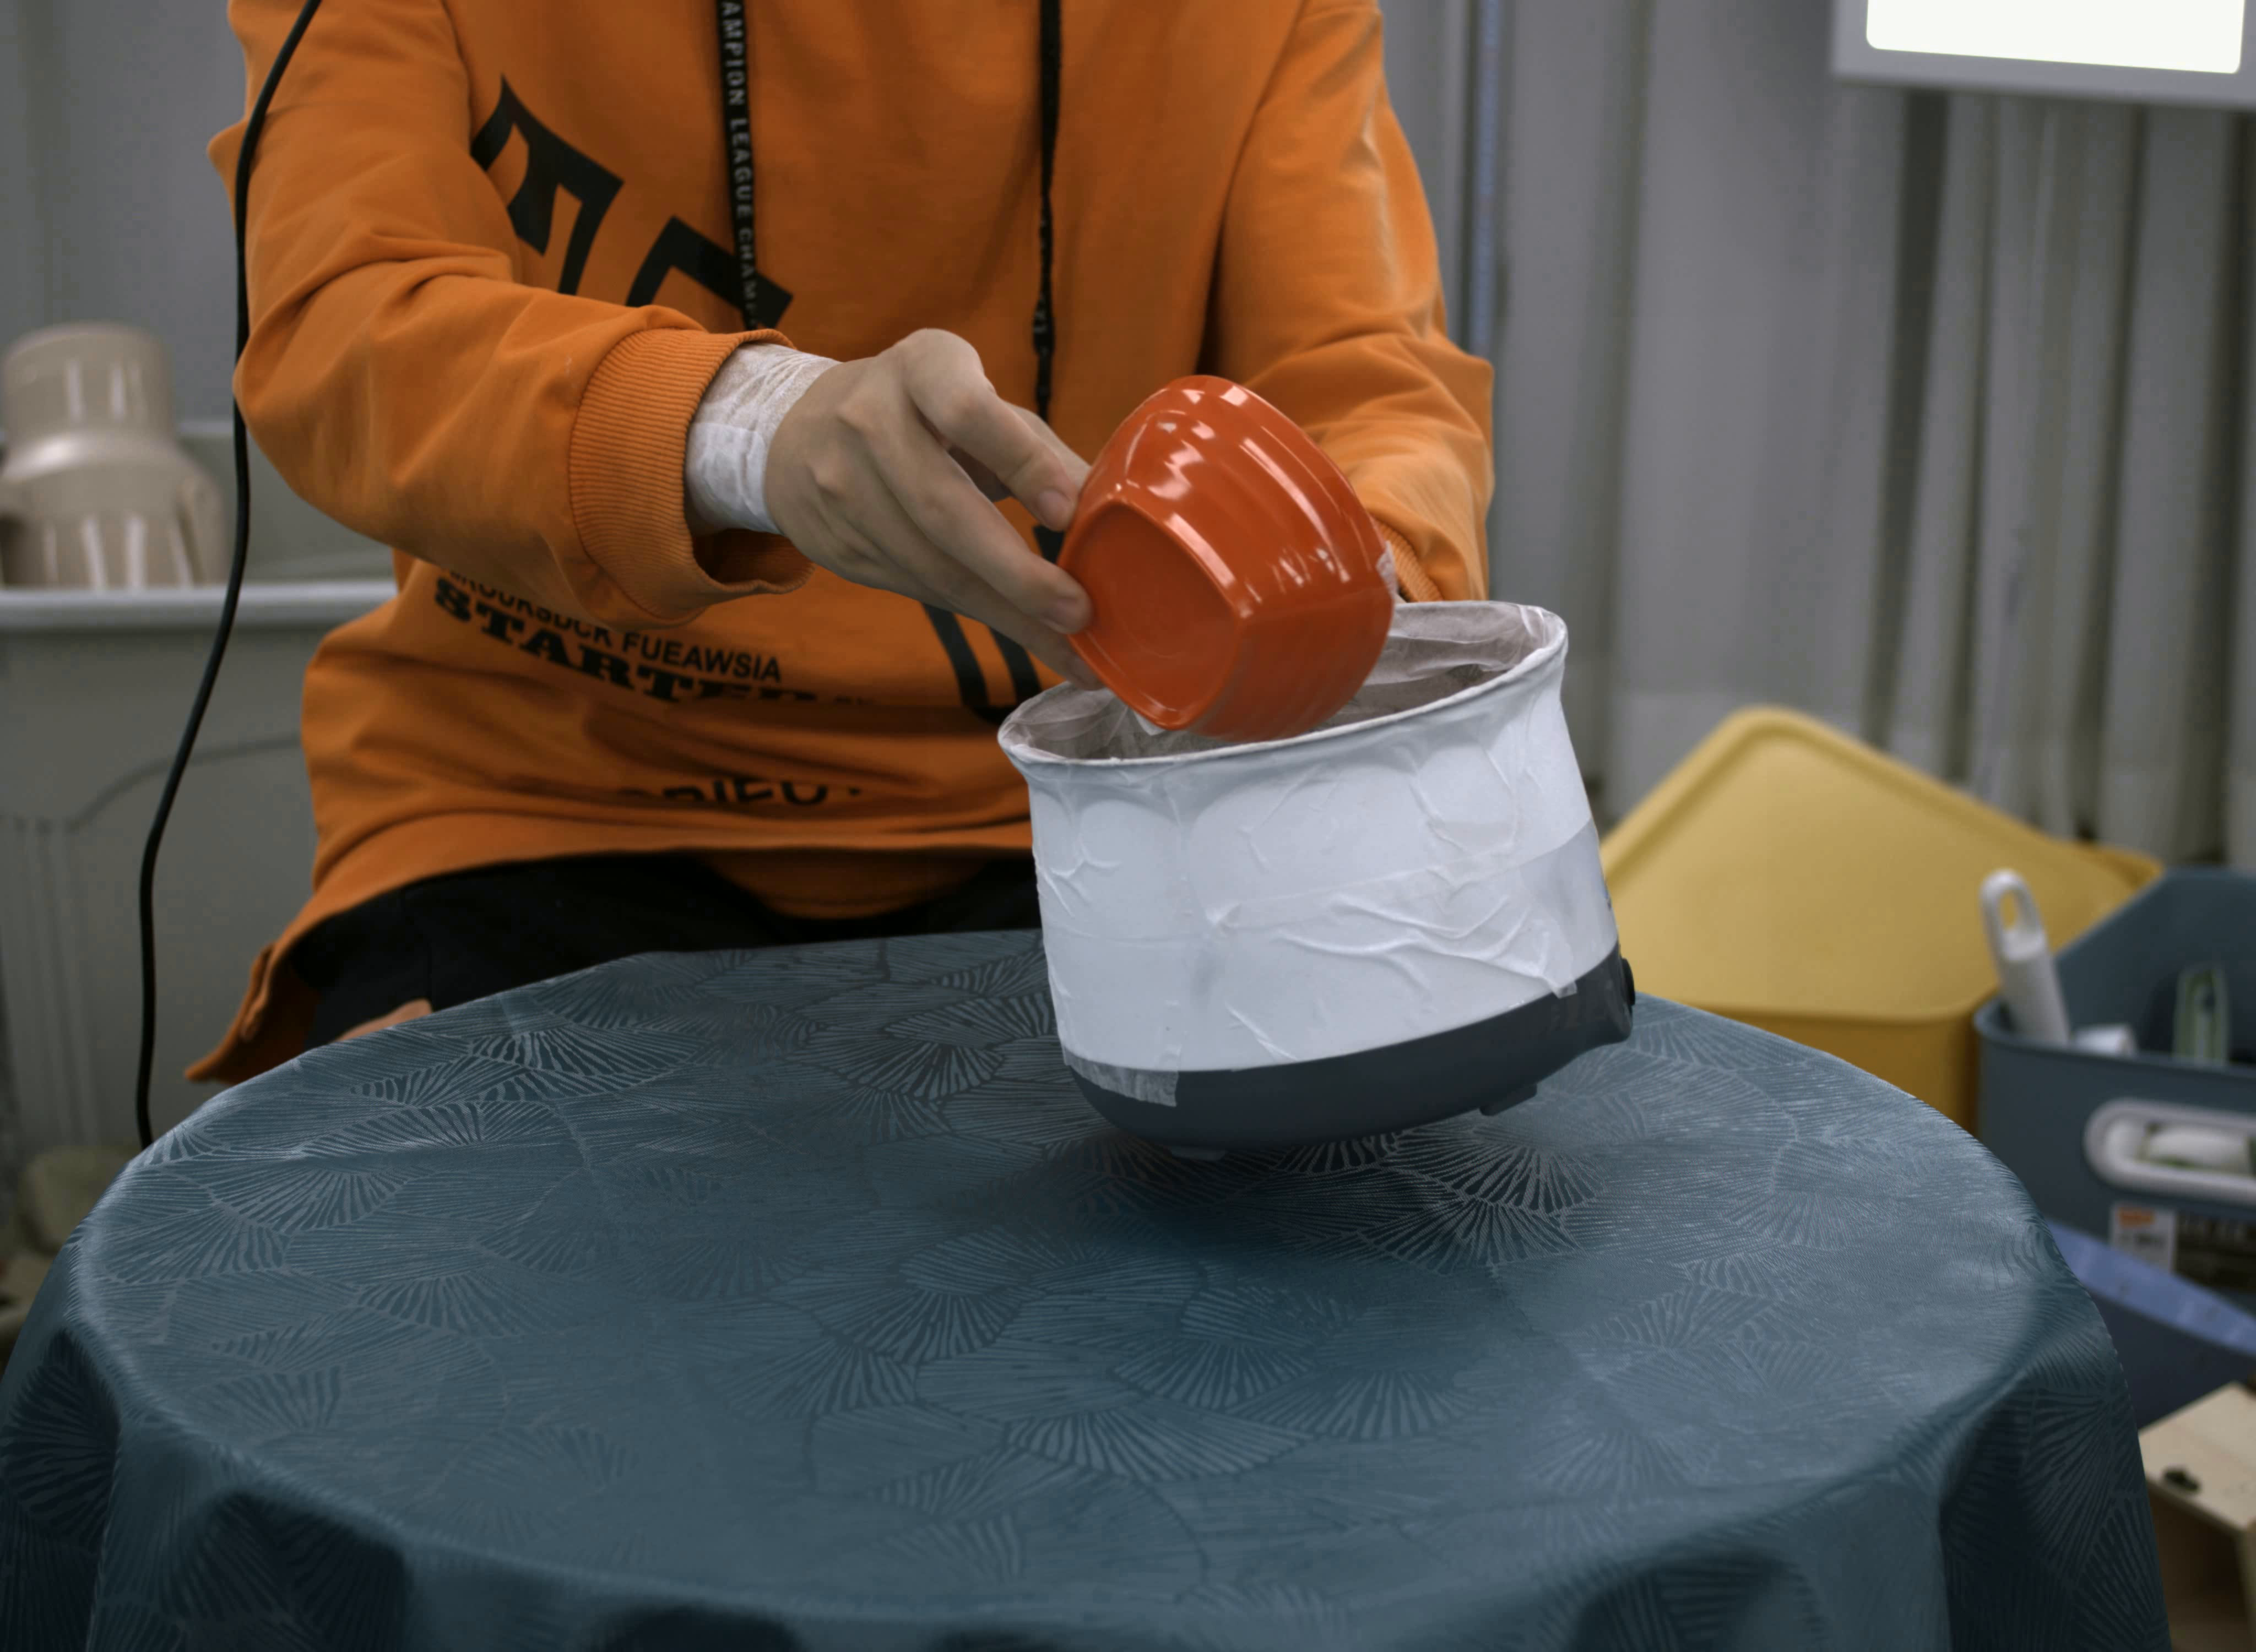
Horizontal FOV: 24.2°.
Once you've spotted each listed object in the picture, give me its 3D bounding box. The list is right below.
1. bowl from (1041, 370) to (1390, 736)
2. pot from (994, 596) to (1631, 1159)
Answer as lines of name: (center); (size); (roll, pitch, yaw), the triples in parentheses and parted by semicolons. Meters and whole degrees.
bowl: (0.017, -0.073, 1.589); (0.117, 0.120, 0.051); (13, 32, 37)
pot: (0.059, 0.008, 1.641); (0.178, 0.138, 0.232); (-10, 14, 4)
